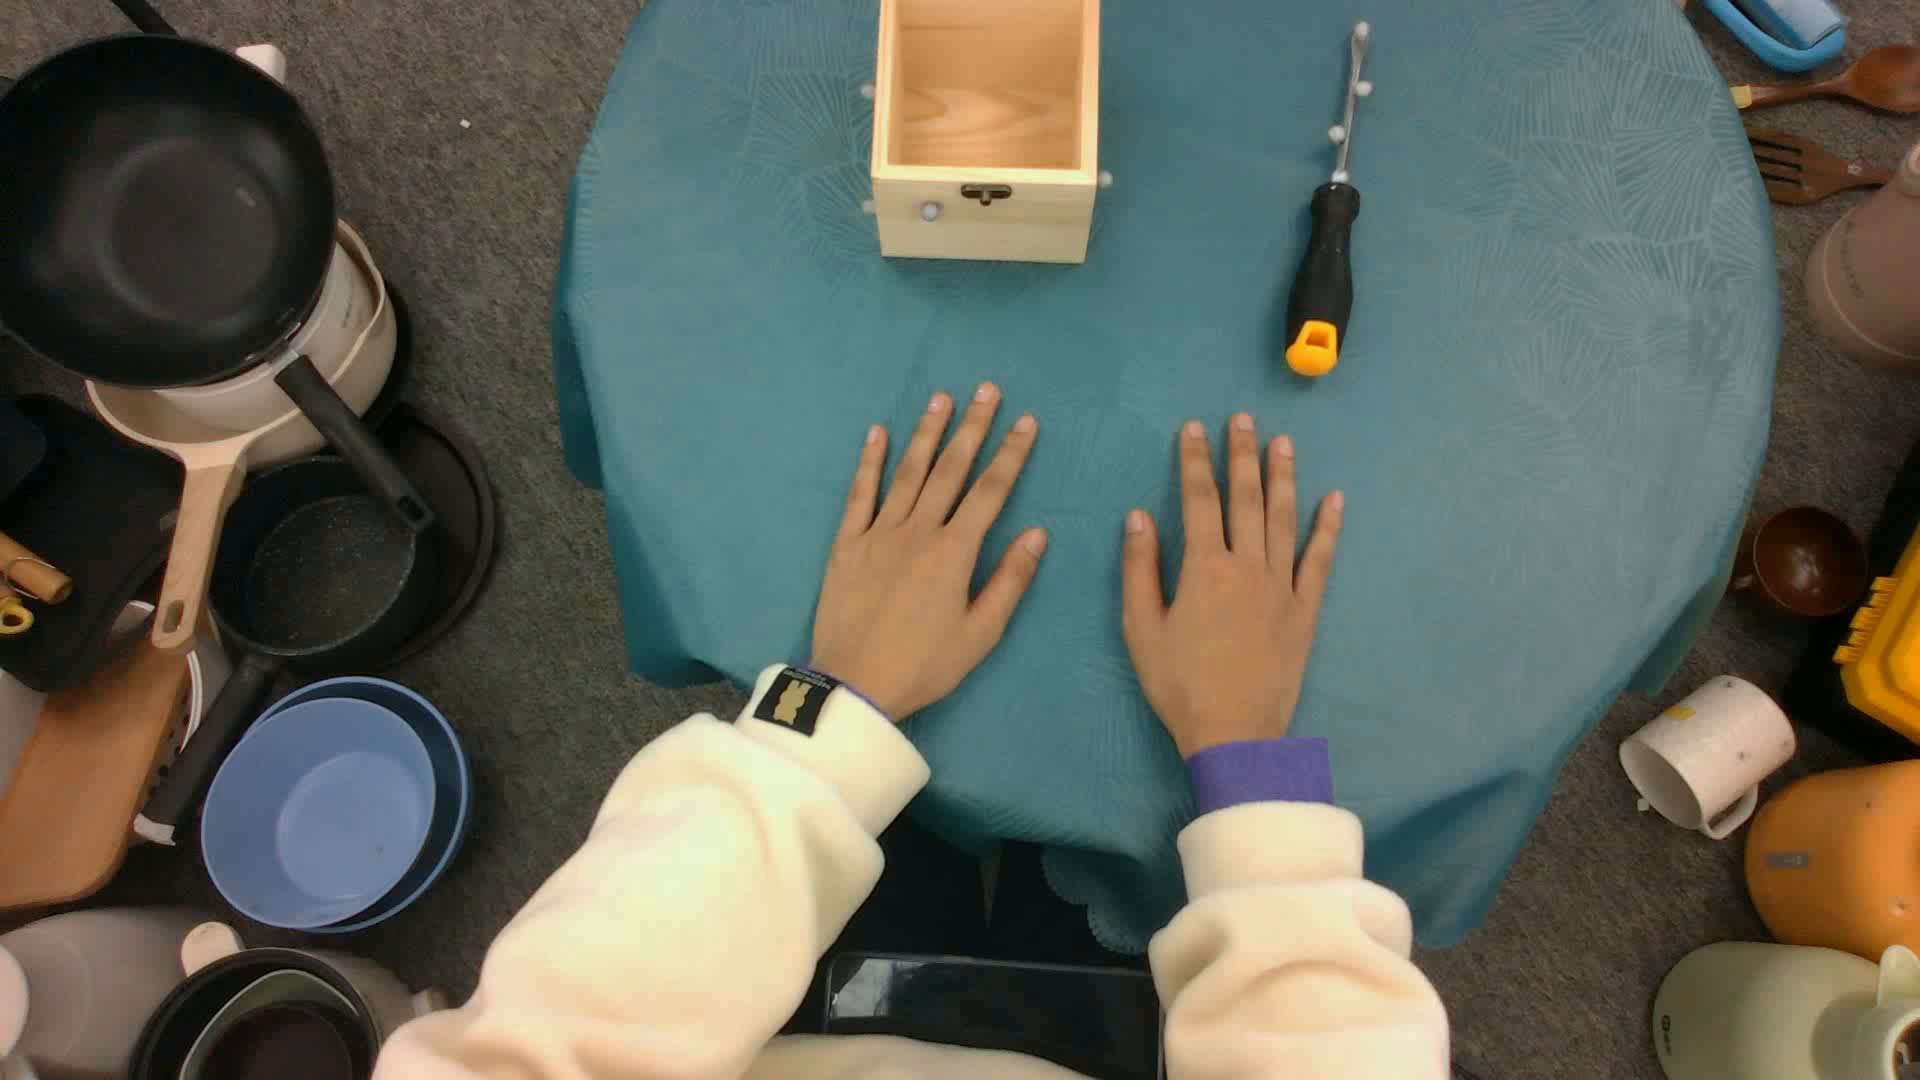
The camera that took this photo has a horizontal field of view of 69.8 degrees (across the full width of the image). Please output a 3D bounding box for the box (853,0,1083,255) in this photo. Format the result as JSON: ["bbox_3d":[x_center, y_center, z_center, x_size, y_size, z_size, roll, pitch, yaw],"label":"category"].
[{"bbox_3d":[0.005,-0.225,0.612,0.102,0.184,0.134,2,74,0],"label":"box"}]

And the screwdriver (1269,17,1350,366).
[{"bbox_3d":[0.182,-0.177,0.683,0.031,0.031,0.198,14,73,4],"label":"screwdriver"}]
